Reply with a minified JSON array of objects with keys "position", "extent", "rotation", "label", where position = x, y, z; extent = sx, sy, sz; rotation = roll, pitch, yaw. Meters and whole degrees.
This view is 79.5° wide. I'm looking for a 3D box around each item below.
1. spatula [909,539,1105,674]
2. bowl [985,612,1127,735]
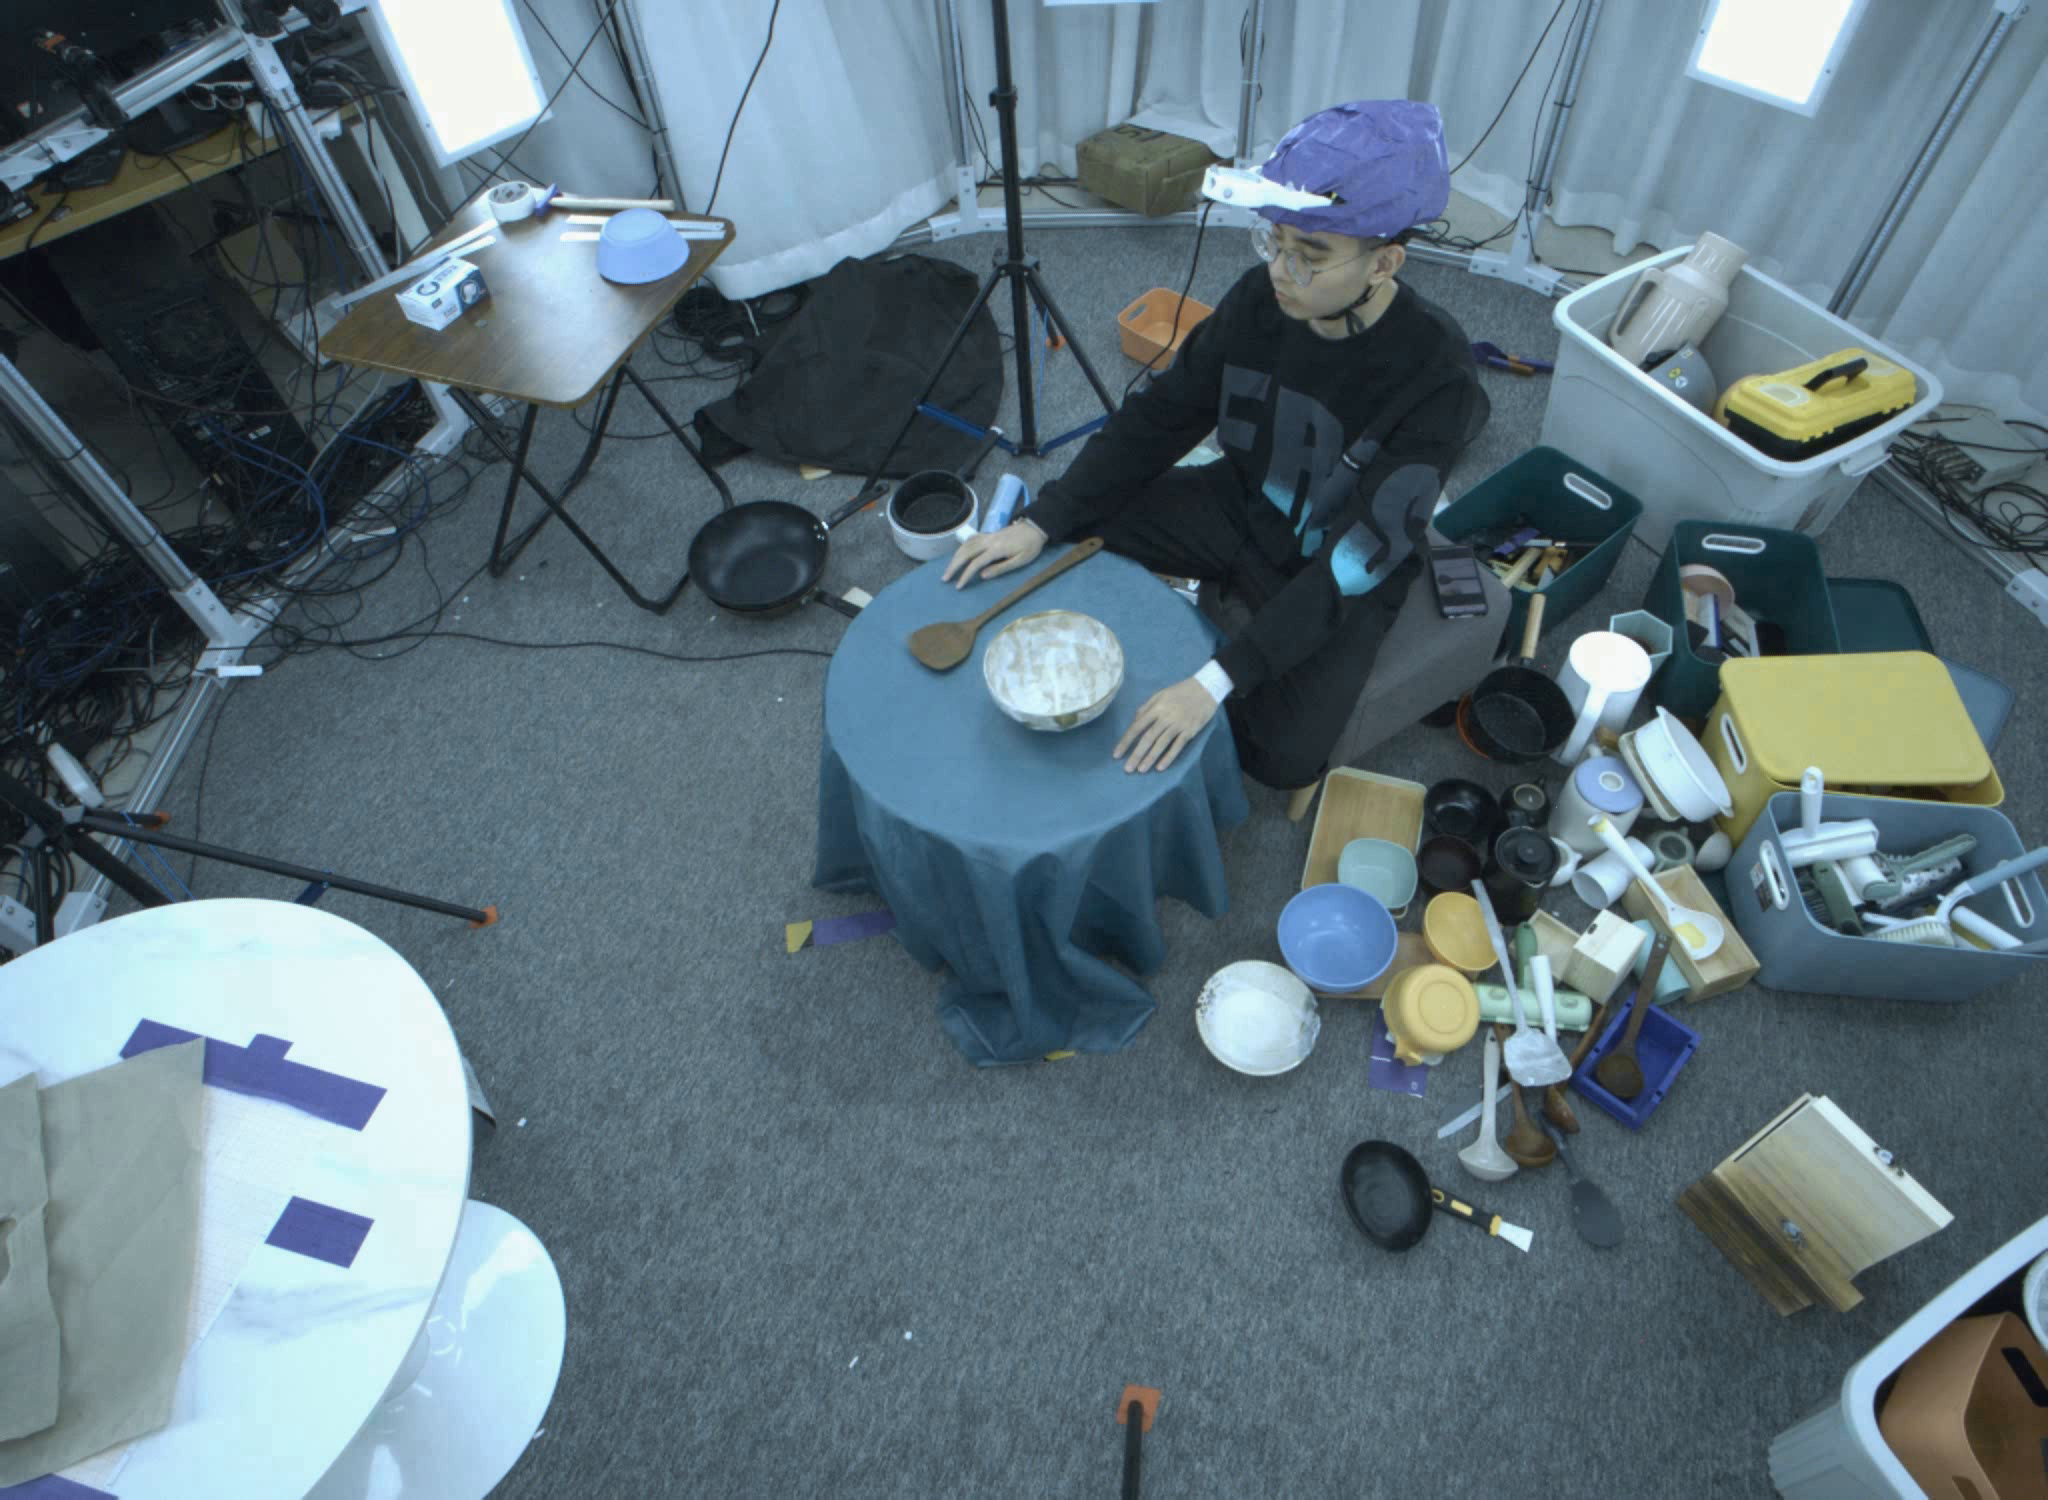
[{"position":[-0.015,-0.241,1.959],"extent":[0.389,0.016,0.094],"rotation":[-37,62,-22],"label":"spatula"},{"position":[0.051,-0.097,1.806],"extent":[0.214,0.095,0.212],"rotation":[-1,53,2],"label":"bowl"}]
